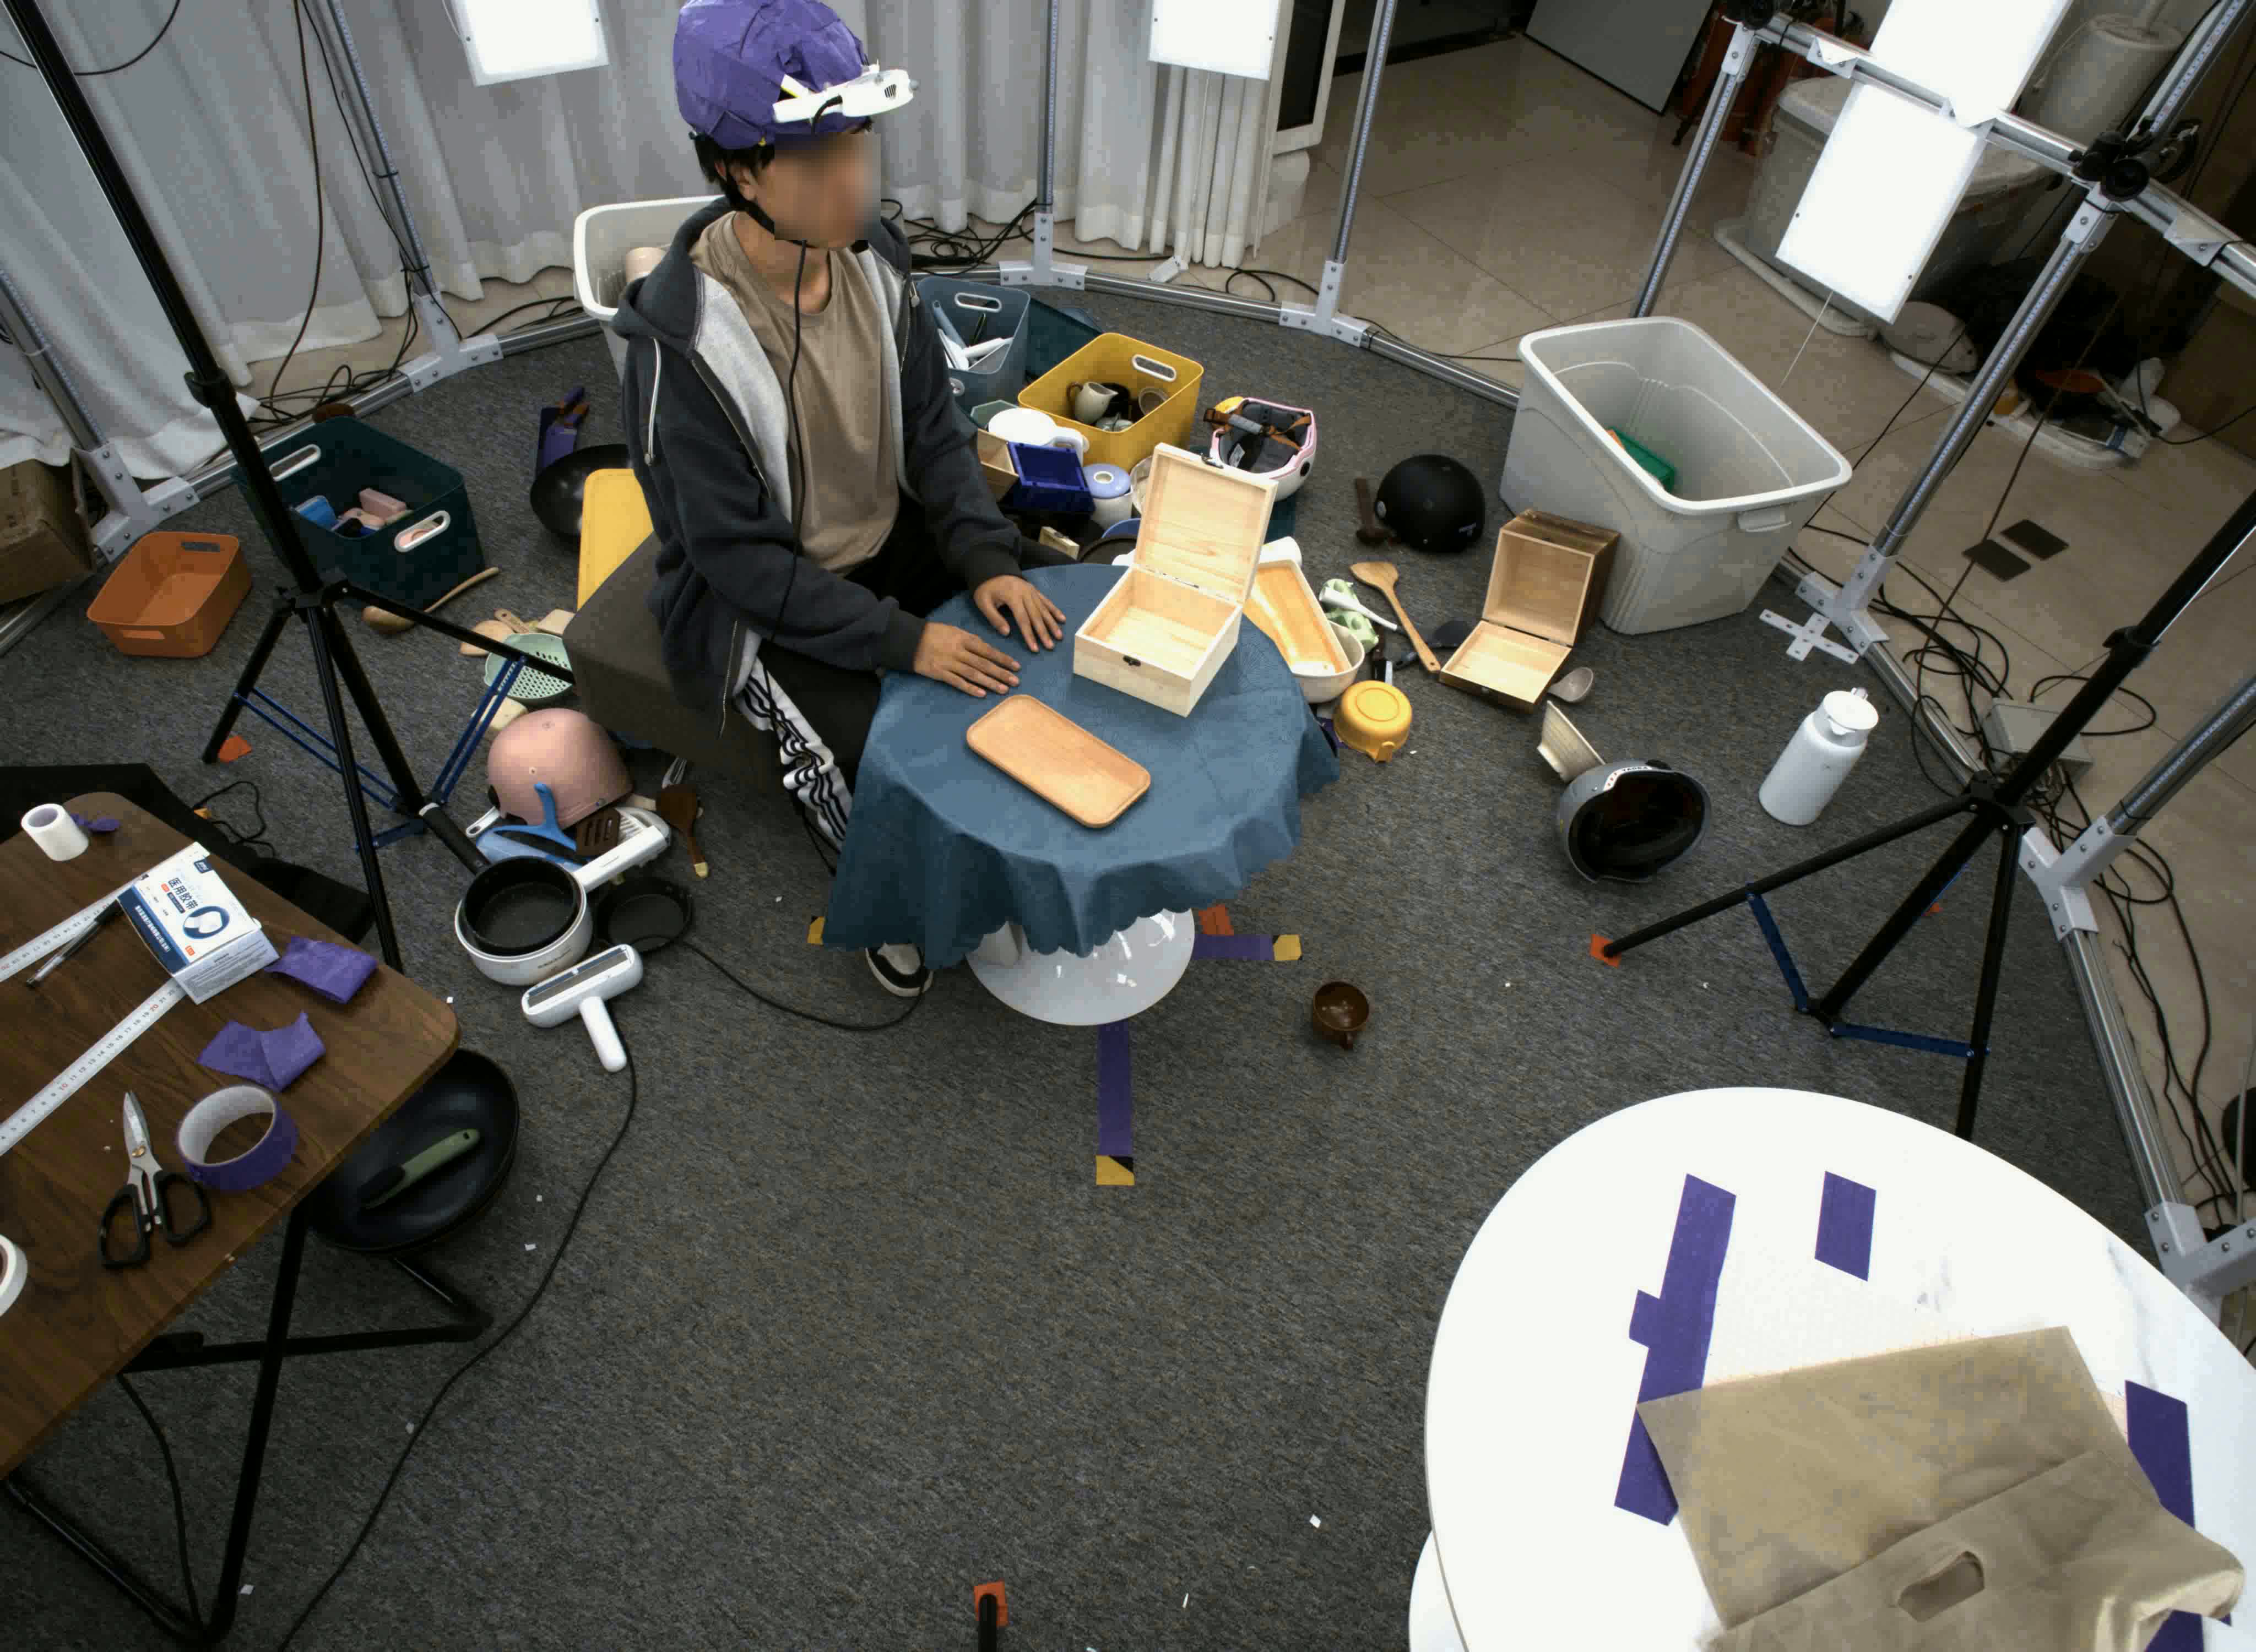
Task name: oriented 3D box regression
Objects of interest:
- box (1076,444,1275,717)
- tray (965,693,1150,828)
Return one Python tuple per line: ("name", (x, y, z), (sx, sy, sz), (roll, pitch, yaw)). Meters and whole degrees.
("box", (0.063, -0.349, 1.817), (0.183, 0.247, 0.270), (20, 49, 17))
("tray", (-0.096, -0.090, 1.725), (0.254, 0.022, 0.132), (34, 52, 24))
